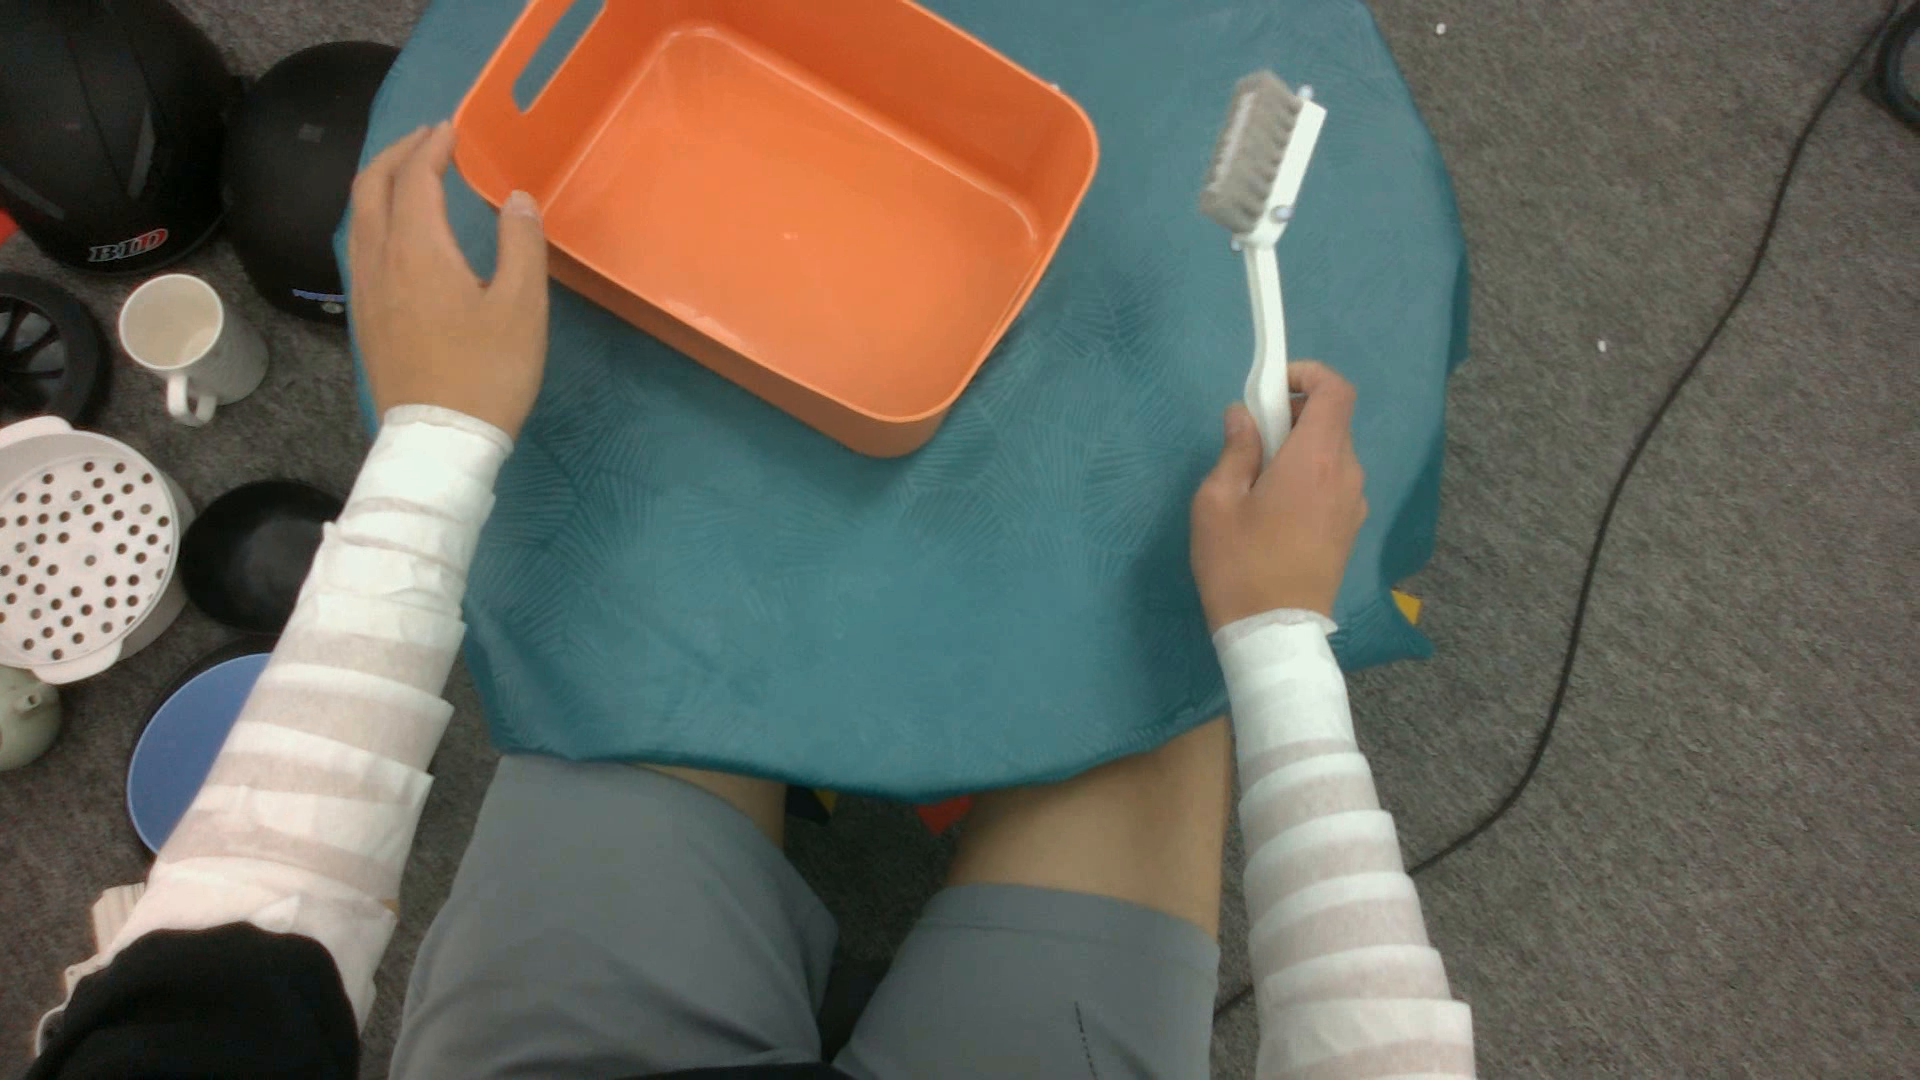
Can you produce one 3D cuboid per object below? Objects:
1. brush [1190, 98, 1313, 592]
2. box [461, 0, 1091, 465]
[{"bbox_3d":[0.133,-0.091,0.679,0.050,0.034,0.243,0,107,-11],"label":"brush"},{"bbox_3d":[-0.089,-0.168,0.707,0.273,0.102,0.200,28,75,3],"label":"box"}]
